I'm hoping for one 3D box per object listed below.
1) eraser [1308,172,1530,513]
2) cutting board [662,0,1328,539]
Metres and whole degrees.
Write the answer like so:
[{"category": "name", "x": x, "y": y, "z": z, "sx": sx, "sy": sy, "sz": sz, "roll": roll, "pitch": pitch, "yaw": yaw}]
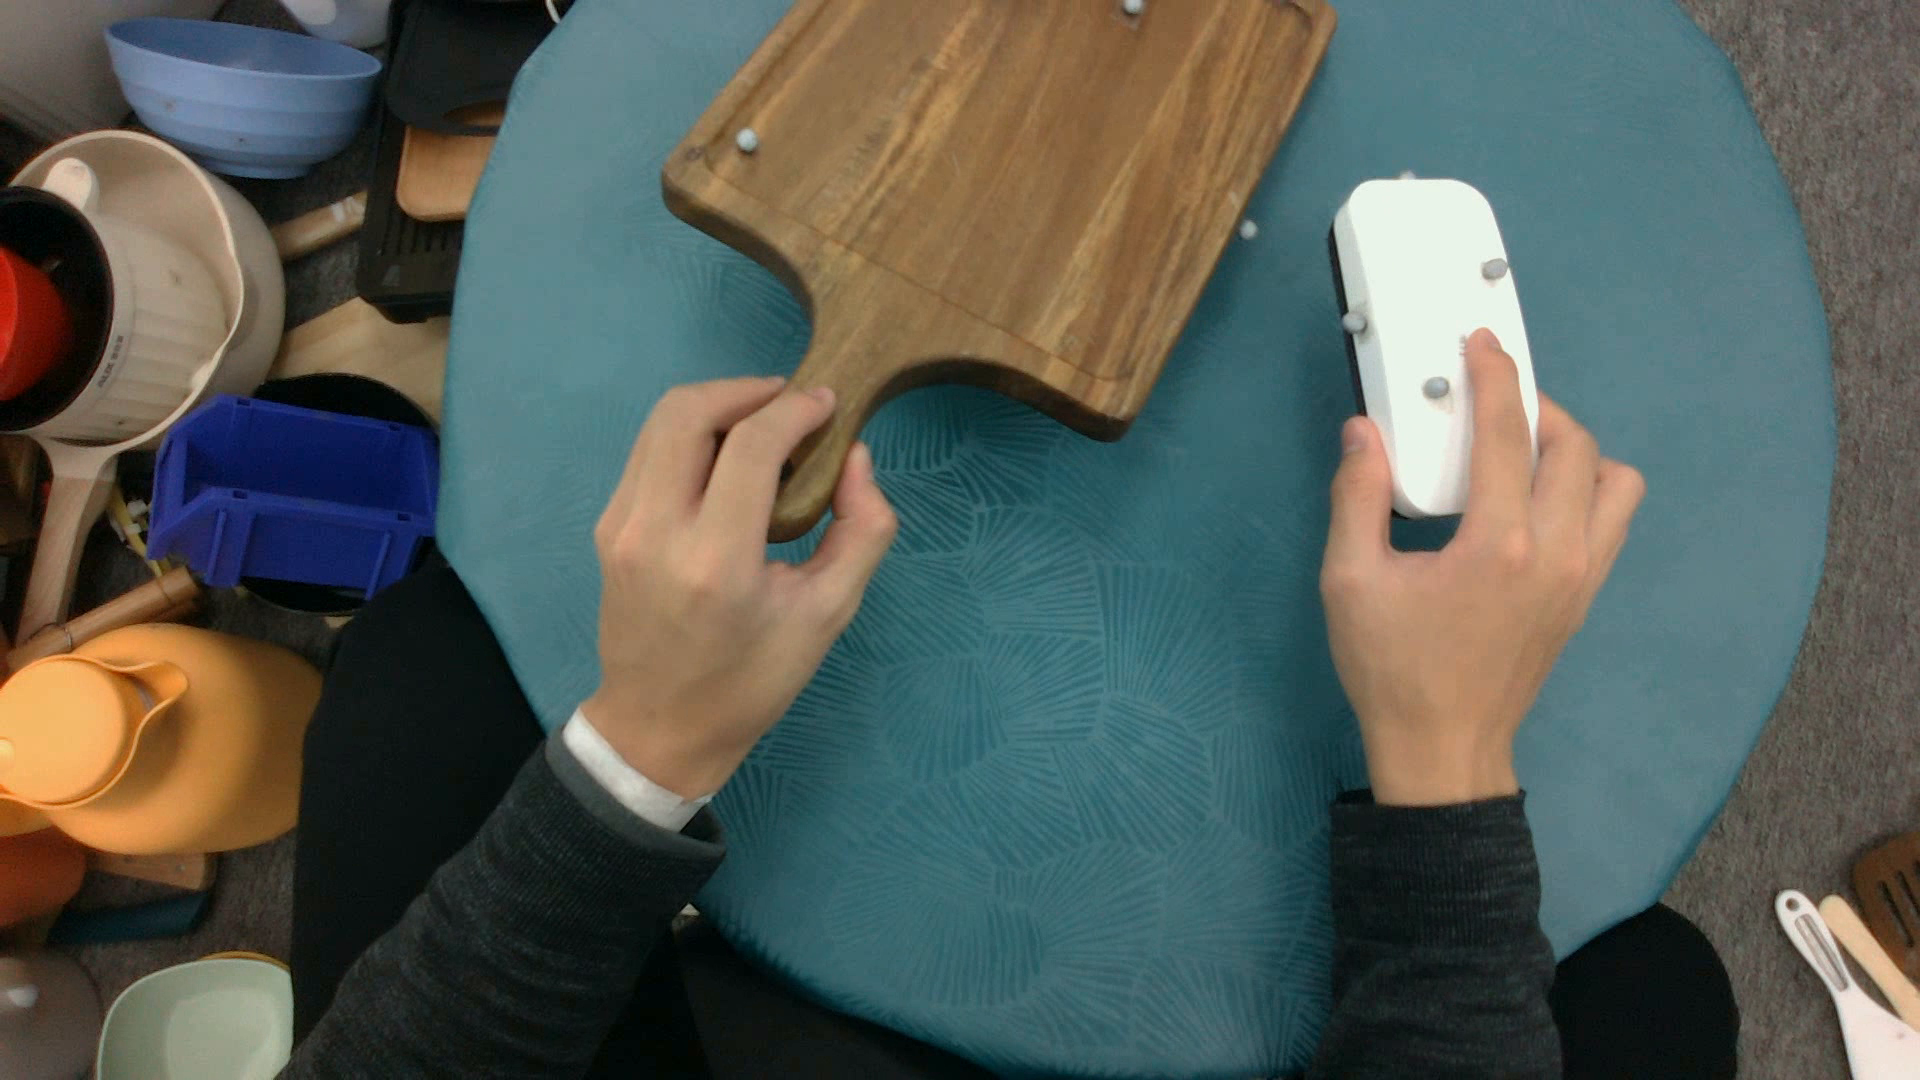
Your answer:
[{"category": "eraser", "x": 0.171, "y": -0.075, "z": 0.518, "sx": 0.063, "sy": 0.034, "sz": 0.131, "roll": -5, "pitch": 78, "yaw": -17}, {"category": "cutting board", "x": 0.006, "y": -0.143, "z": 0.537, "sx": 0.201, "sy": 0.023, "sz": 0.354, "roll": 28, "pitch": 61, "yaw": 2}]
